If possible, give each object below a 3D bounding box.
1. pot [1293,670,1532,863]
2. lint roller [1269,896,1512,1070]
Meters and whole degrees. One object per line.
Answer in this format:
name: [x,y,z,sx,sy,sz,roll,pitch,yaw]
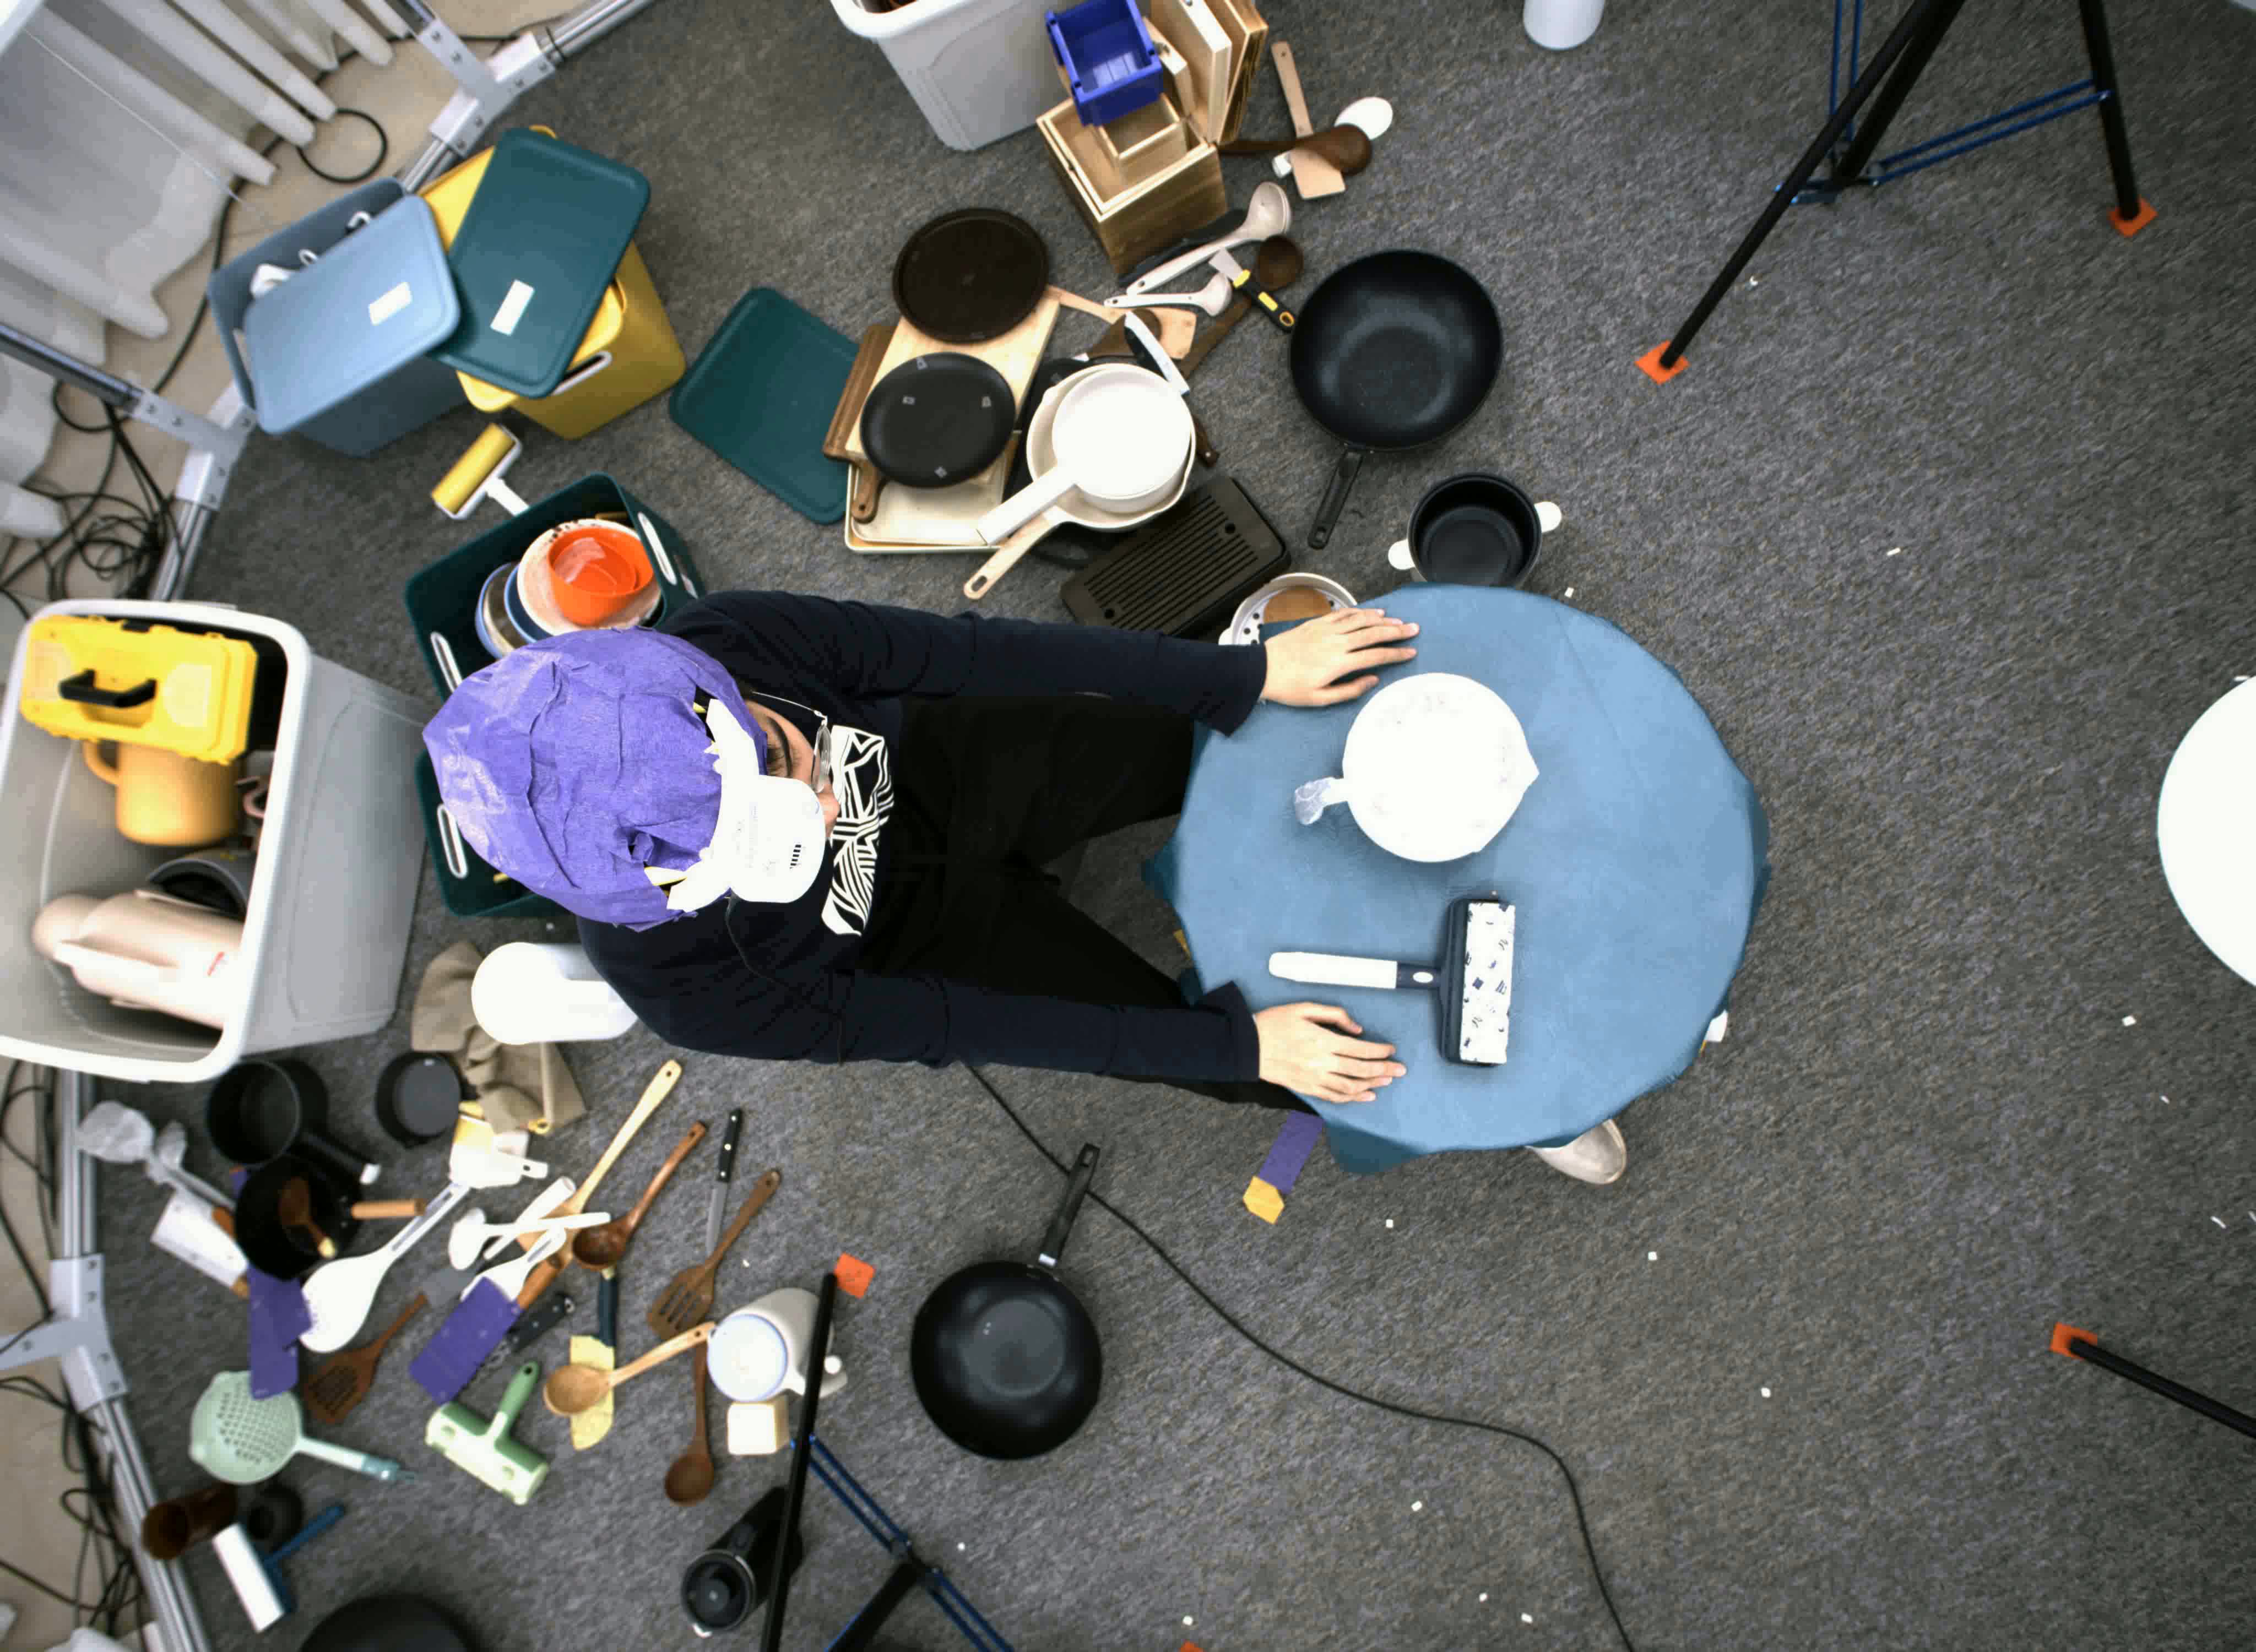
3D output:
pot: [0.282,-0.050,1.391,0.235,0.137,0.177,-14,80,7]
lint roller: [0.268,0.154,1.434,0.248,0.050,0.176,3,88,13]
